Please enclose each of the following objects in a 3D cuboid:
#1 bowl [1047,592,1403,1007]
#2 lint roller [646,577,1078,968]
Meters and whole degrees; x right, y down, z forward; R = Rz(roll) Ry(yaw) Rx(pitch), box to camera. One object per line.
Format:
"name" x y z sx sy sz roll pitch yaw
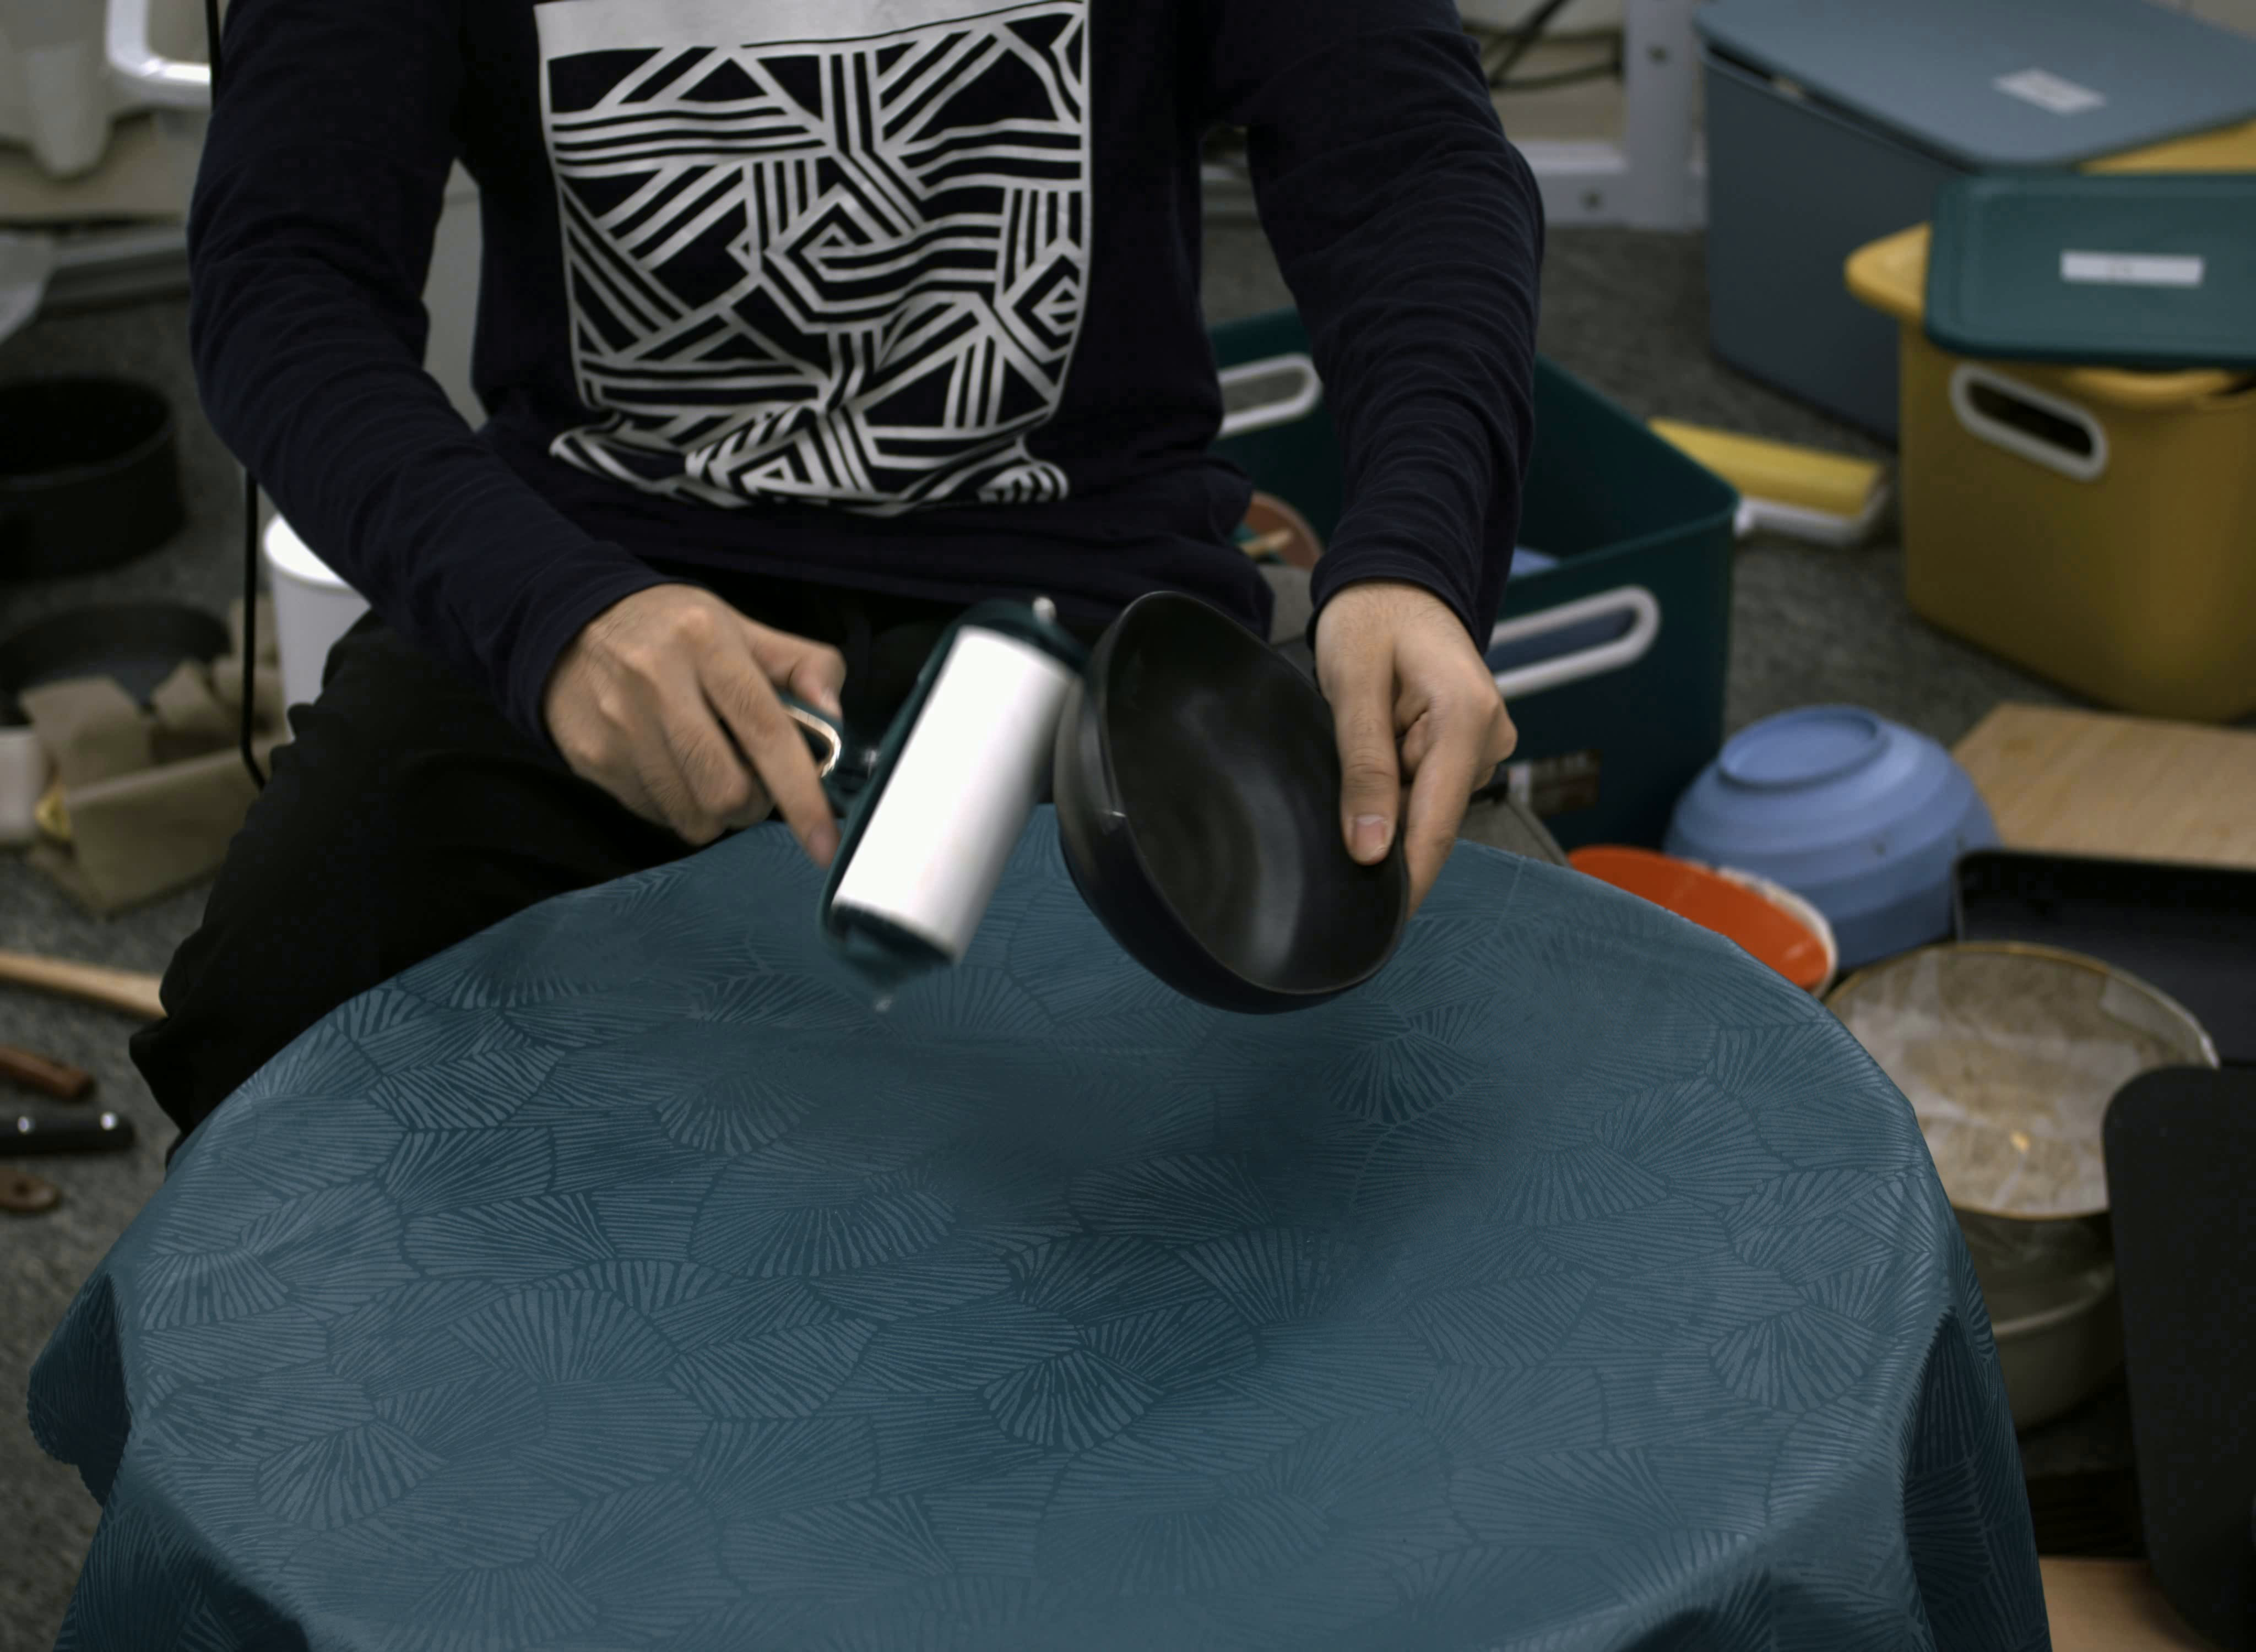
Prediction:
"bowl" 0.020 -0.002 1.835 0.065 0.136 0.174 -37 26 31
"lint roller" -0.106 -0.030 1.876 0.179 0.048 0.136 13 73 37
